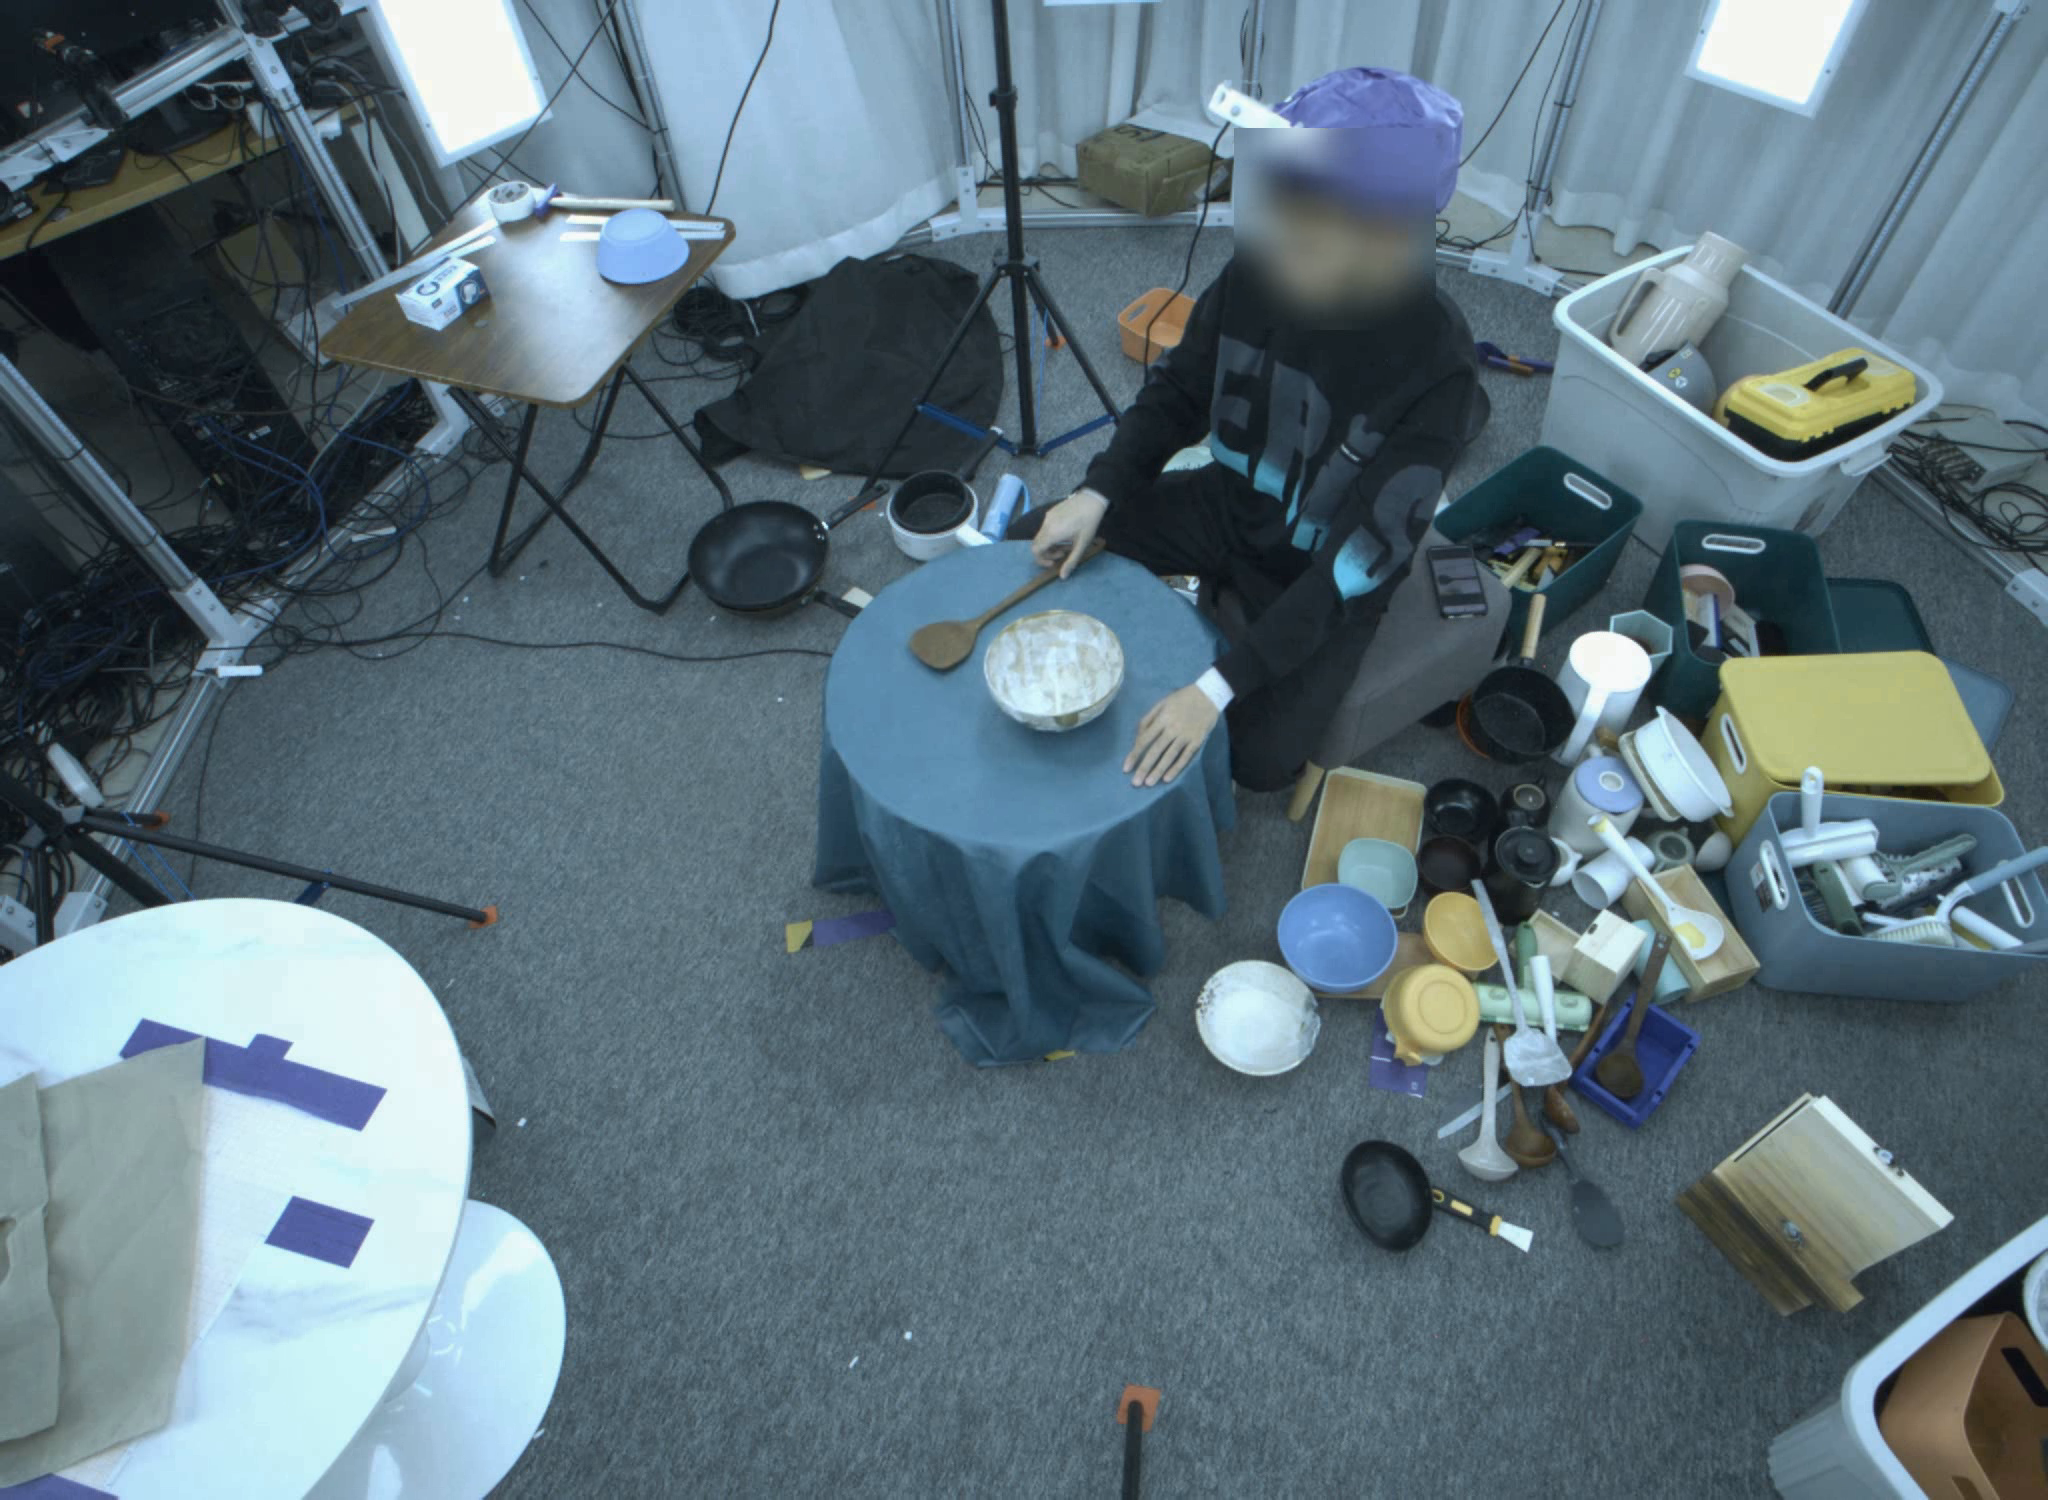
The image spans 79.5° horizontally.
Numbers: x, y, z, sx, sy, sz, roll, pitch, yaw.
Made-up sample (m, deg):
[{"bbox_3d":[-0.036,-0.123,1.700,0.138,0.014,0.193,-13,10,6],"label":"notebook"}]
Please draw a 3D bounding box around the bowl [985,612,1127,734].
[{"bbox_3d":[0.051,-0.097,1.807,0.214,0.095,0.212,-1,53,2],"label":"bowl"}]

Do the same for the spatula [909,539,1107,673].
[{"bbox_3d":[-0.013,-0.241,1.960,0.389,0.016,0.094,-36,62,-22],"label":"spatula"}]
